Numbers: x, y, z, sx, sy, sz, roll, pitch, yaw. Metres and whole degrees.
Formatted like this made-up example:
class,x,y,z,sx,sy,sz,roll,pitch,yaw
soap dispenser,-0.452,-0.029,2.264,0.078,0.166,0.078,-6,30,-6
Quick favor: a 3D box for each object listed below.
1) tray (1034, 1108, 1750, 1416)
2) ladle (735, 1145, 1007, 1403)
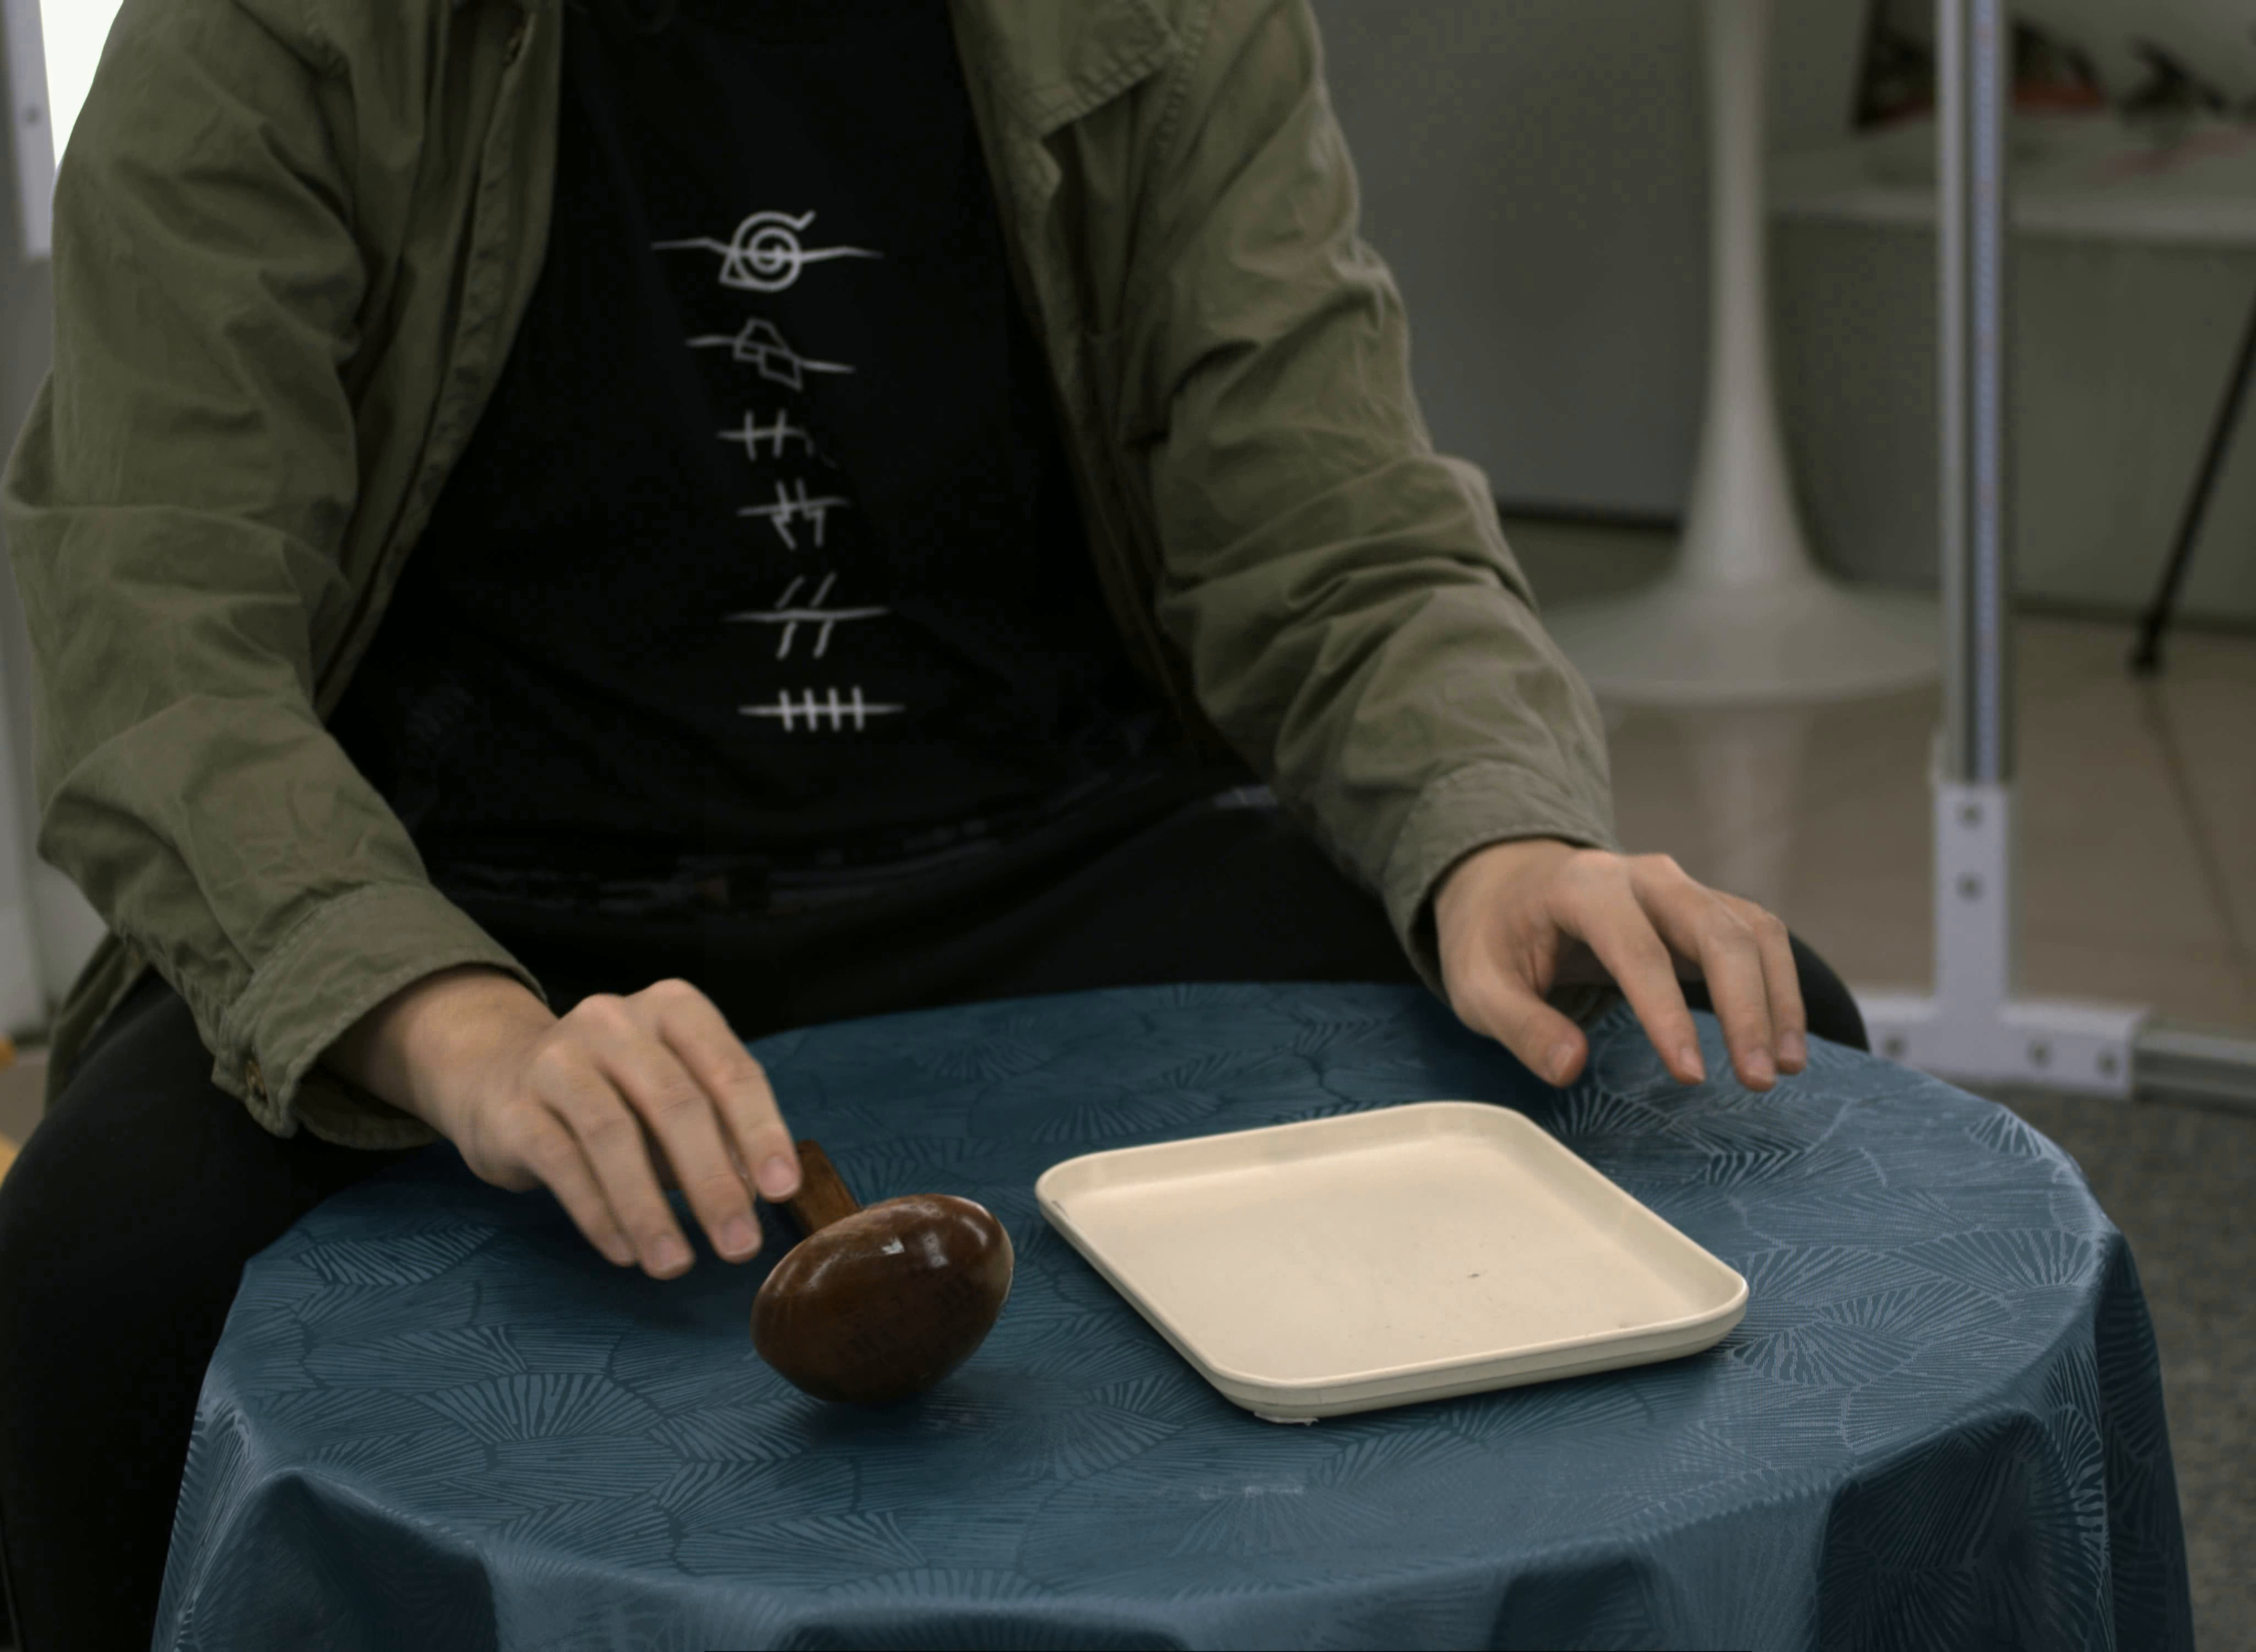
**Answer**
class,x,y,z,sx,sy,sz,roll,pitch,yaw
tray,0.077,0.133,1.661,0.168,0.017,0.241,-7,14,-15
ladle,-0.091,0.114,1.665,0.081,0.077,0.275,-17,15,-6
